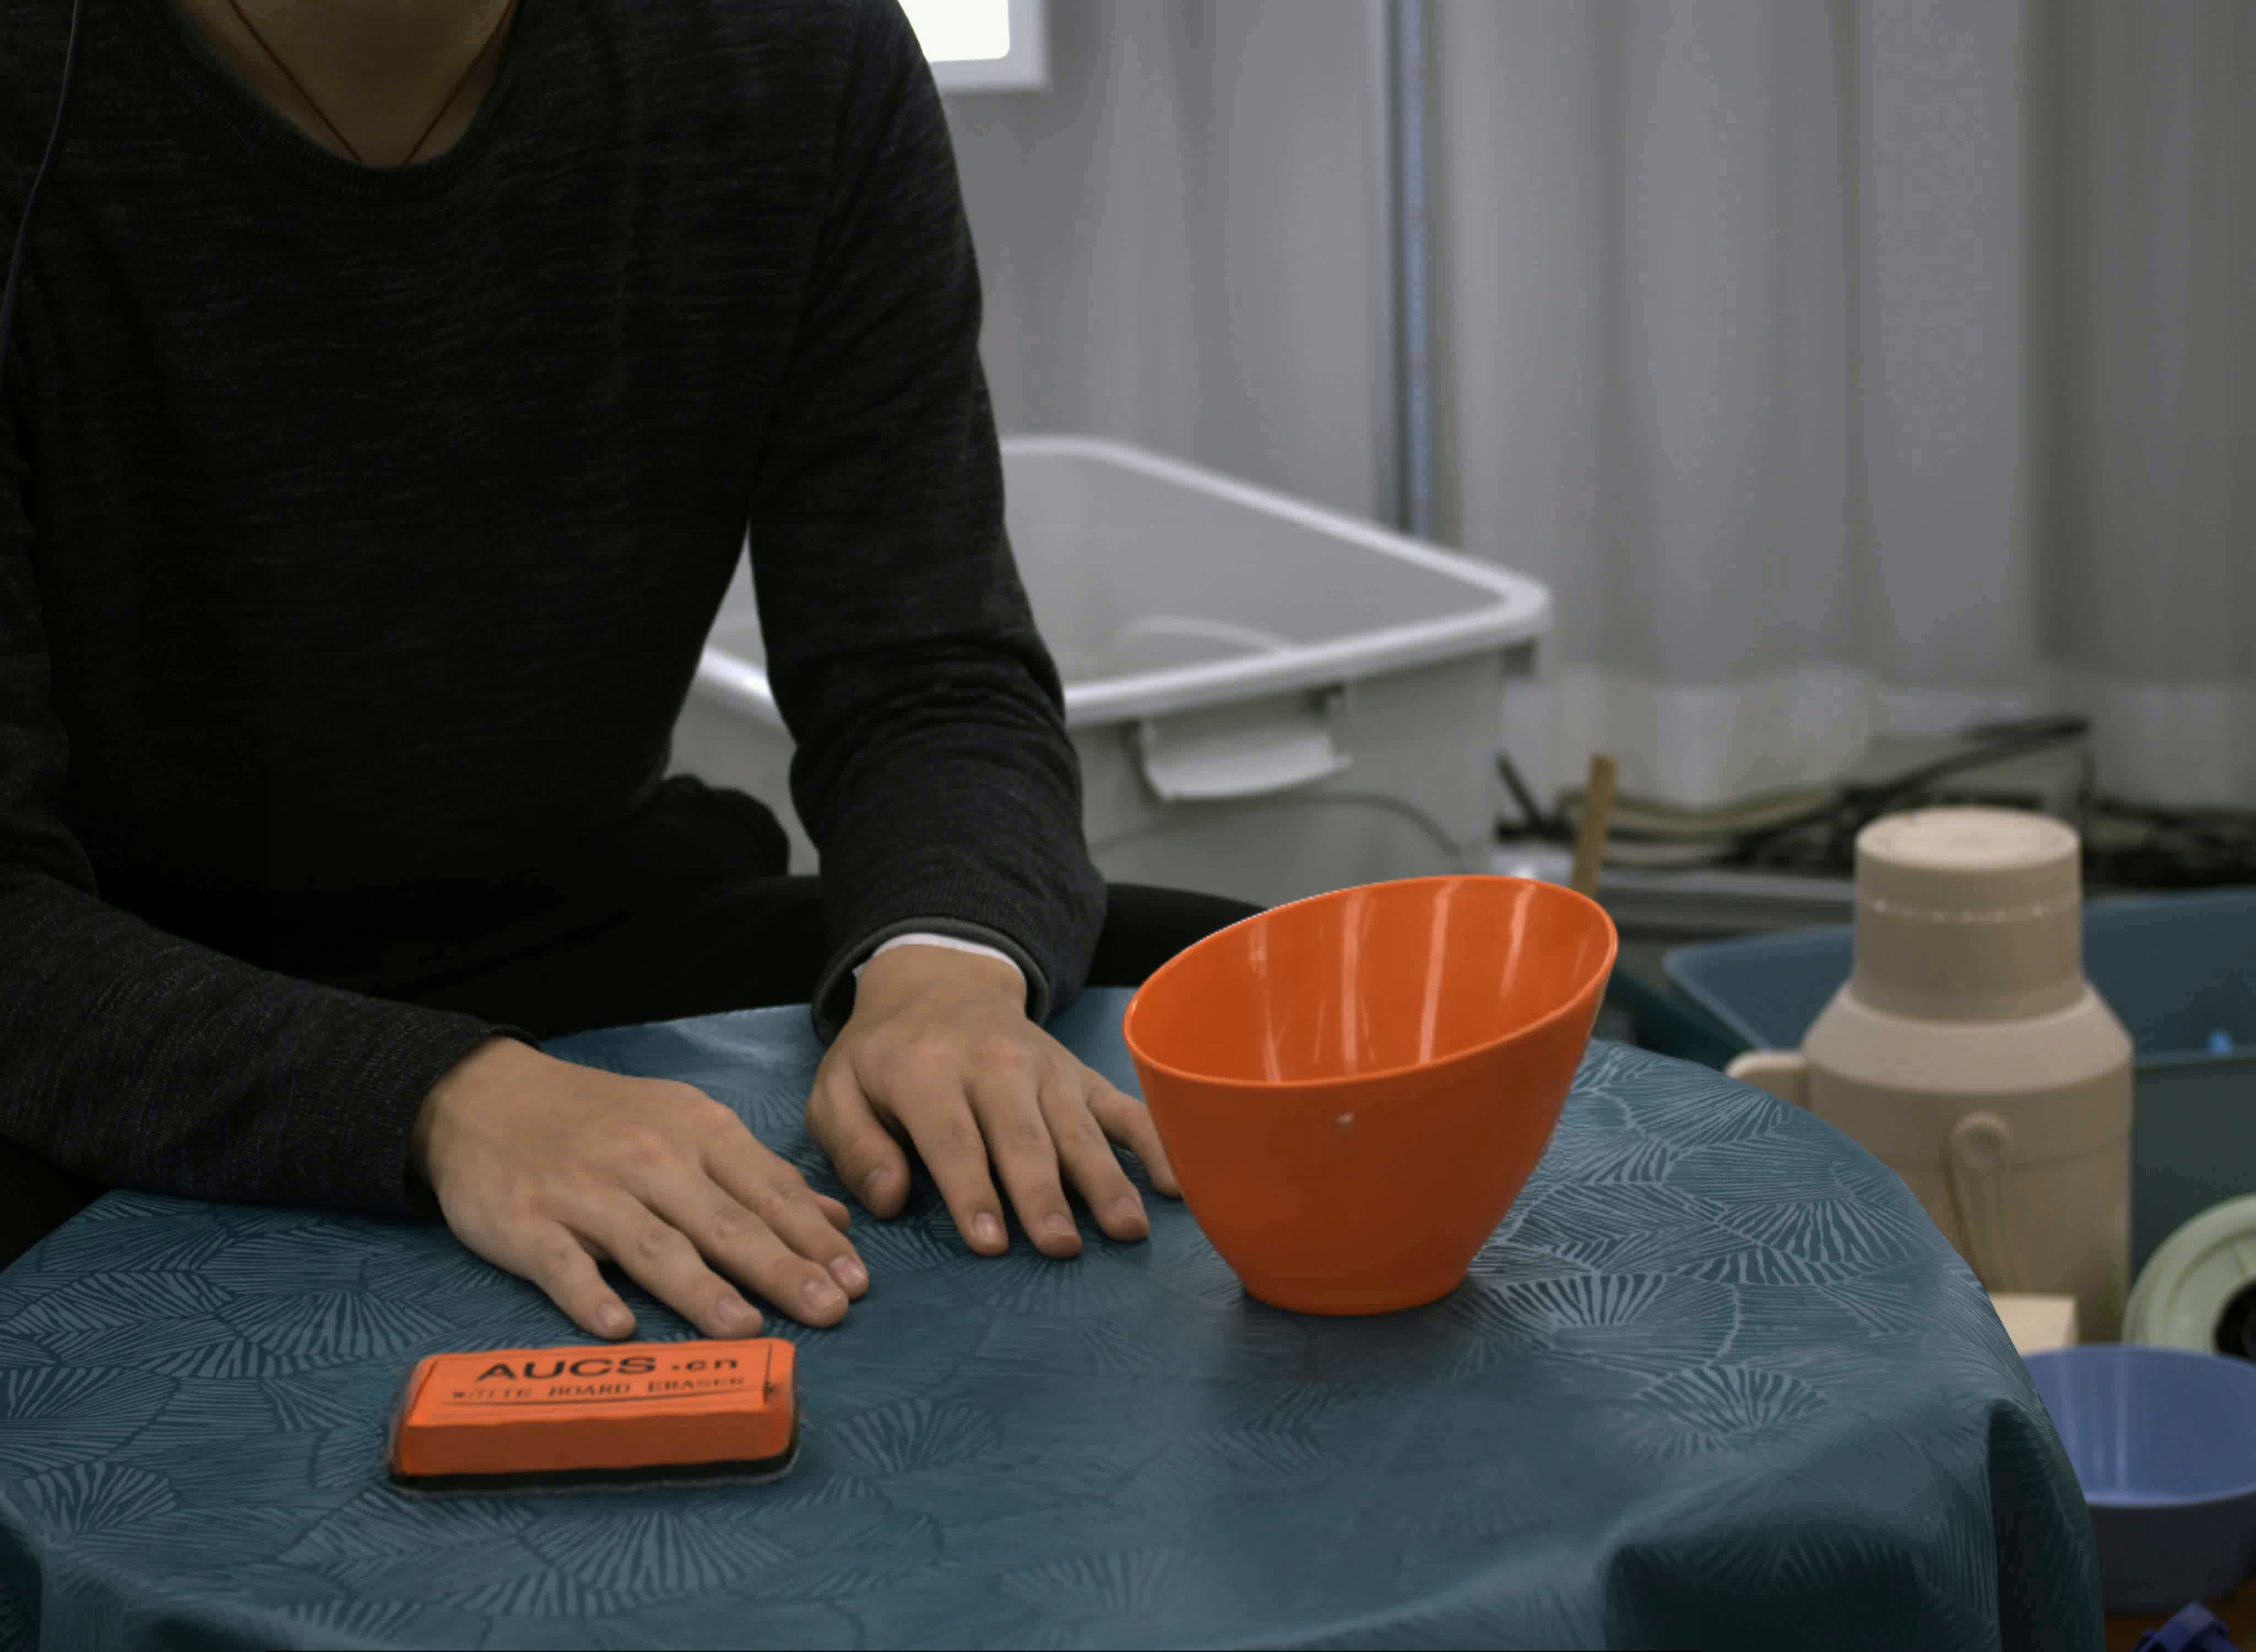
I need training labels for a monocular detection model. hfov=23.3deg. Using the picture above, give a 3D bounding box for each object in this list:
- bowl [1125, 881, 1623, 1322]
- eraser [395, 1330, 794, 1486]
[{"bbox_3d":[0.074,0.085,1.617,0.147,0.104,0.149,-2,15,0],"label":"bowl"},{"bbox_3d":[-0.146,0.161,1.511,0.107,0.023,0.059,-1,16,0],"label":"eraser"}]
